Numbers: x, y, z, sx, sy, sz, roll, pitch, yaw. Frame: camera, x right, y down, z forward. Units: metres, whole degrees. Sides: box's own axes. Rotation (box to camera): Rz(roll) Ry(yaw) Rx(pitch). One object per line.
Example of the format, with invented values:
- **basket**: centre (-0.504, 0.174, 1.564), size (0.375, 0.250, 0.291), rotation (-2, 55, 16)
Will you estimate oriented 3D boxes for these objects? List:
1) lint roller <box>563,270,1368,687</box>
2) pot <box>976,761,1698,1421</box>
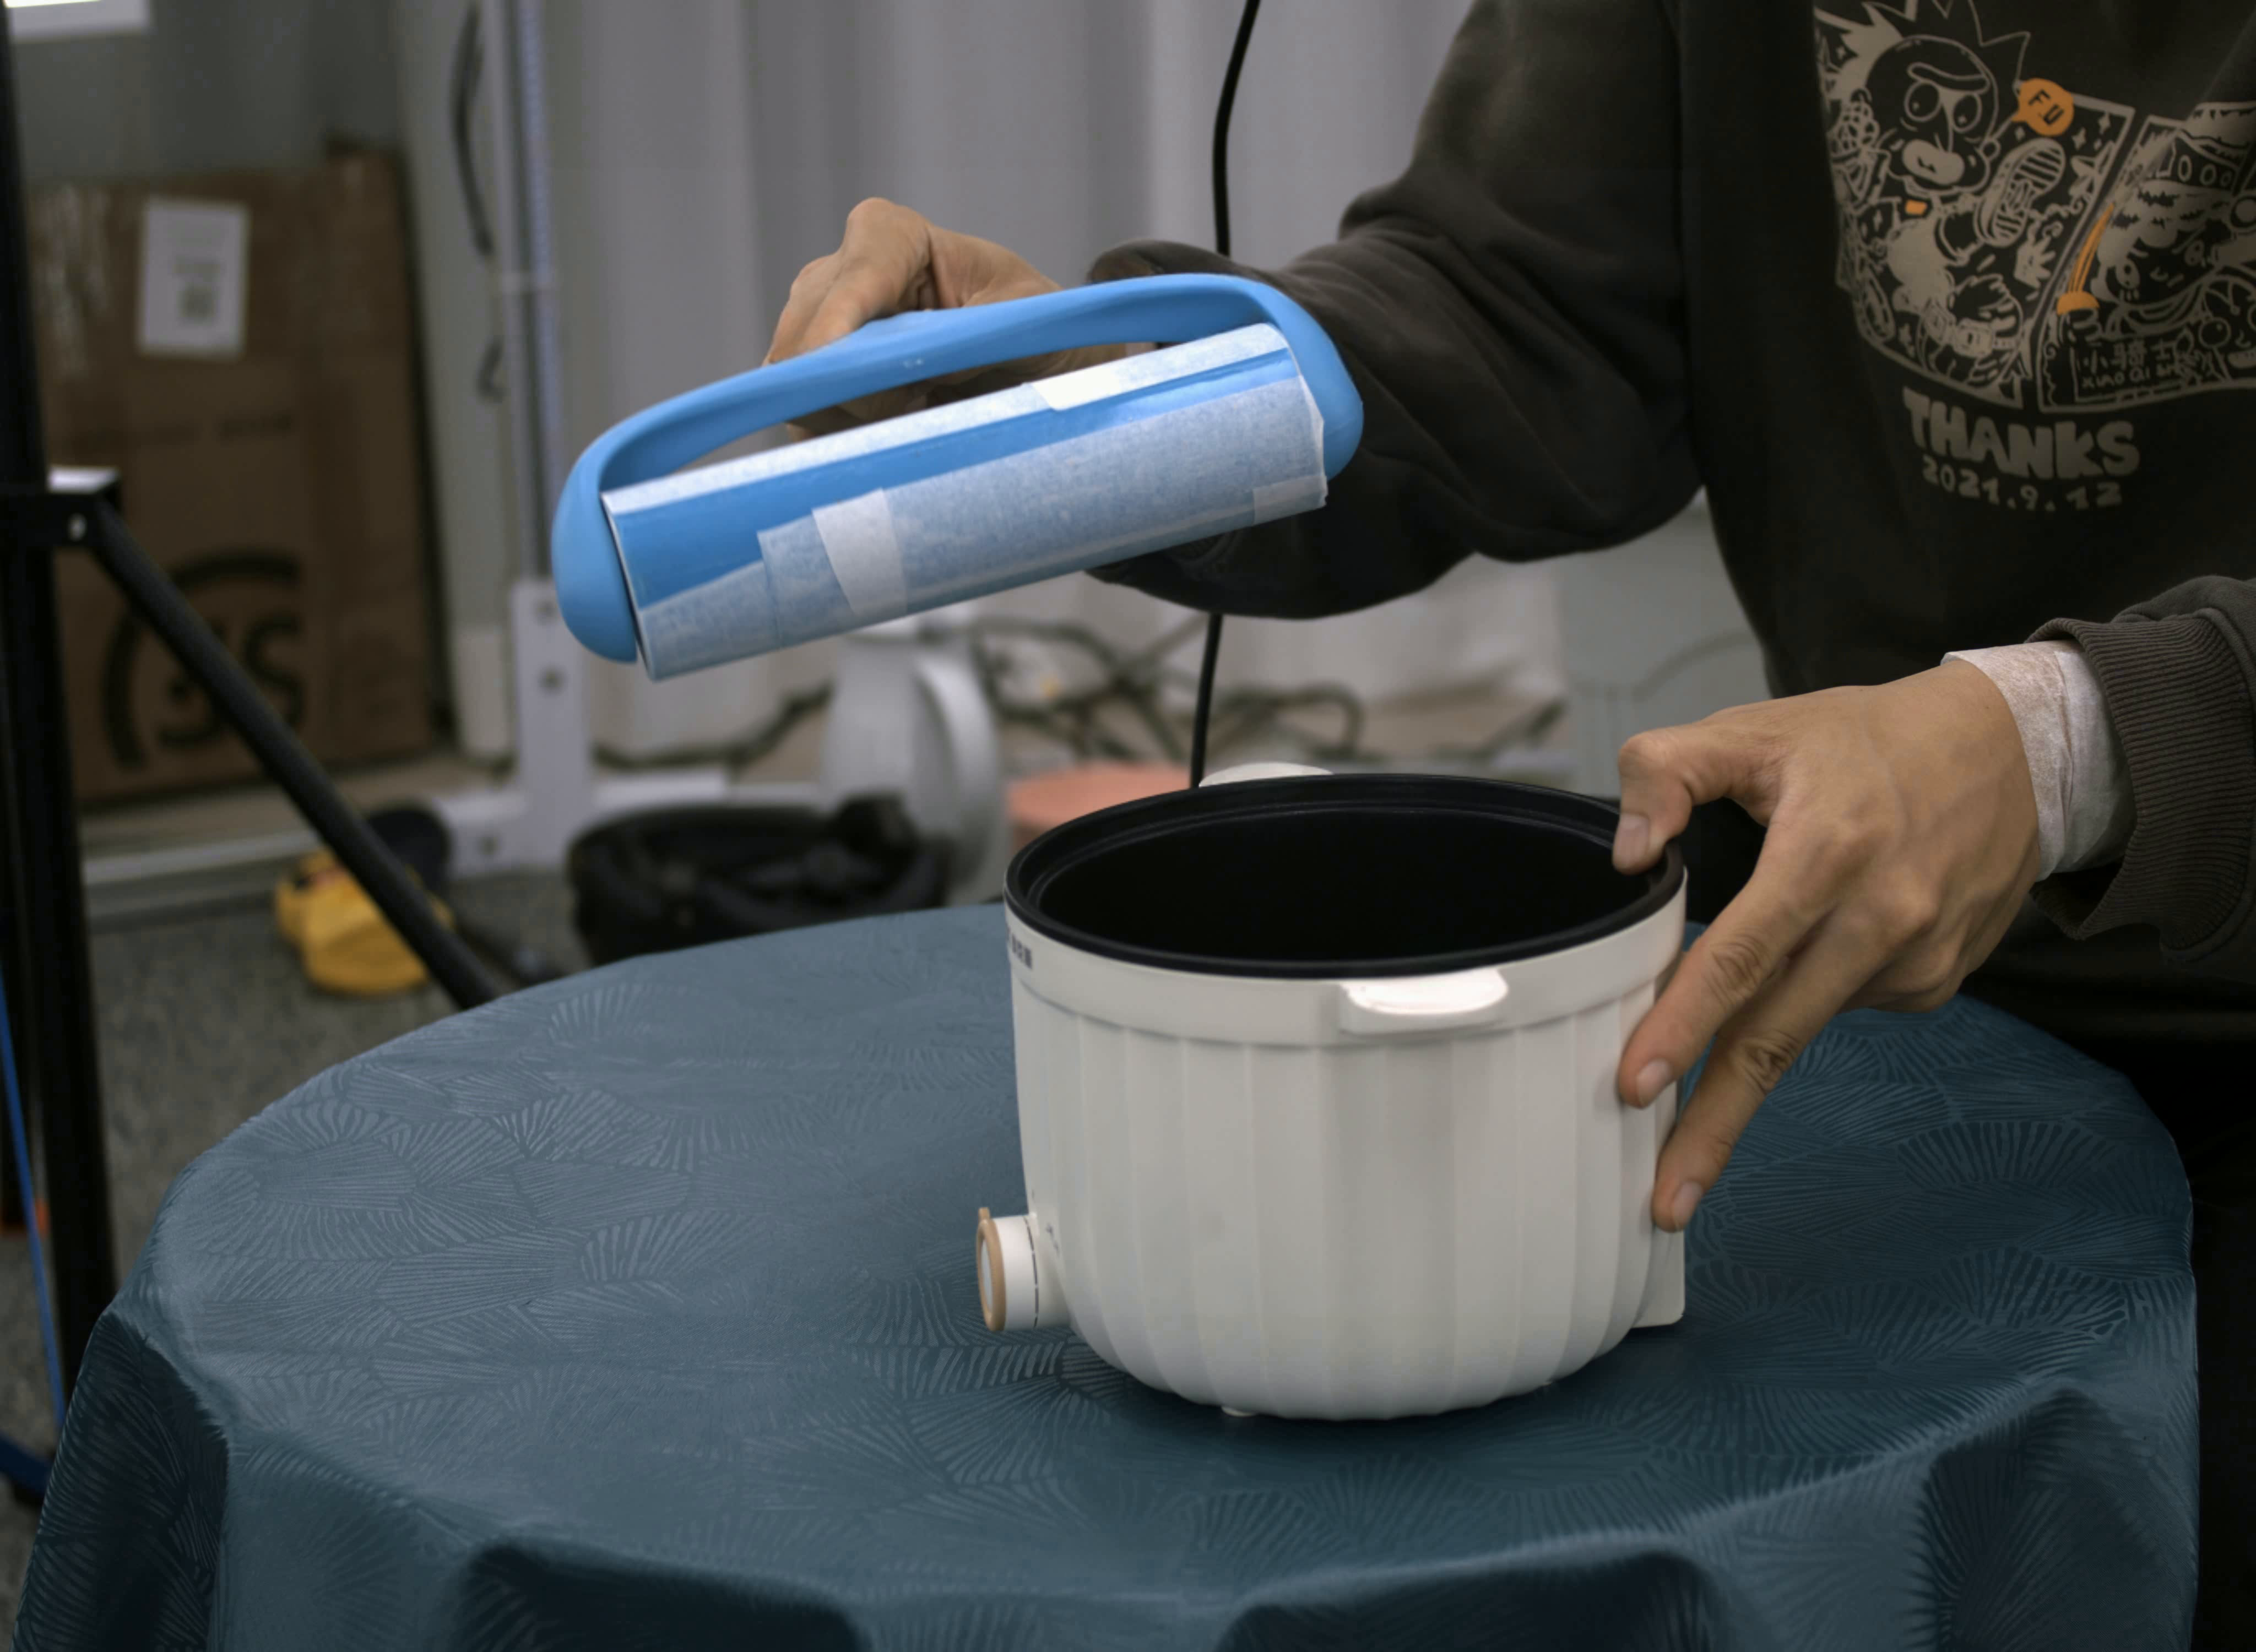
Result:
- **lint roller**: centre (-0.060, -0.113, 1.517), size (0.227, 0.067, 0.183), rotation (-18, 27, -8)
- **pot**: centre (0.055, 0.074, 1.417), size (0.188, 0.143, 0.243), rotation (-2, 14, -10)
